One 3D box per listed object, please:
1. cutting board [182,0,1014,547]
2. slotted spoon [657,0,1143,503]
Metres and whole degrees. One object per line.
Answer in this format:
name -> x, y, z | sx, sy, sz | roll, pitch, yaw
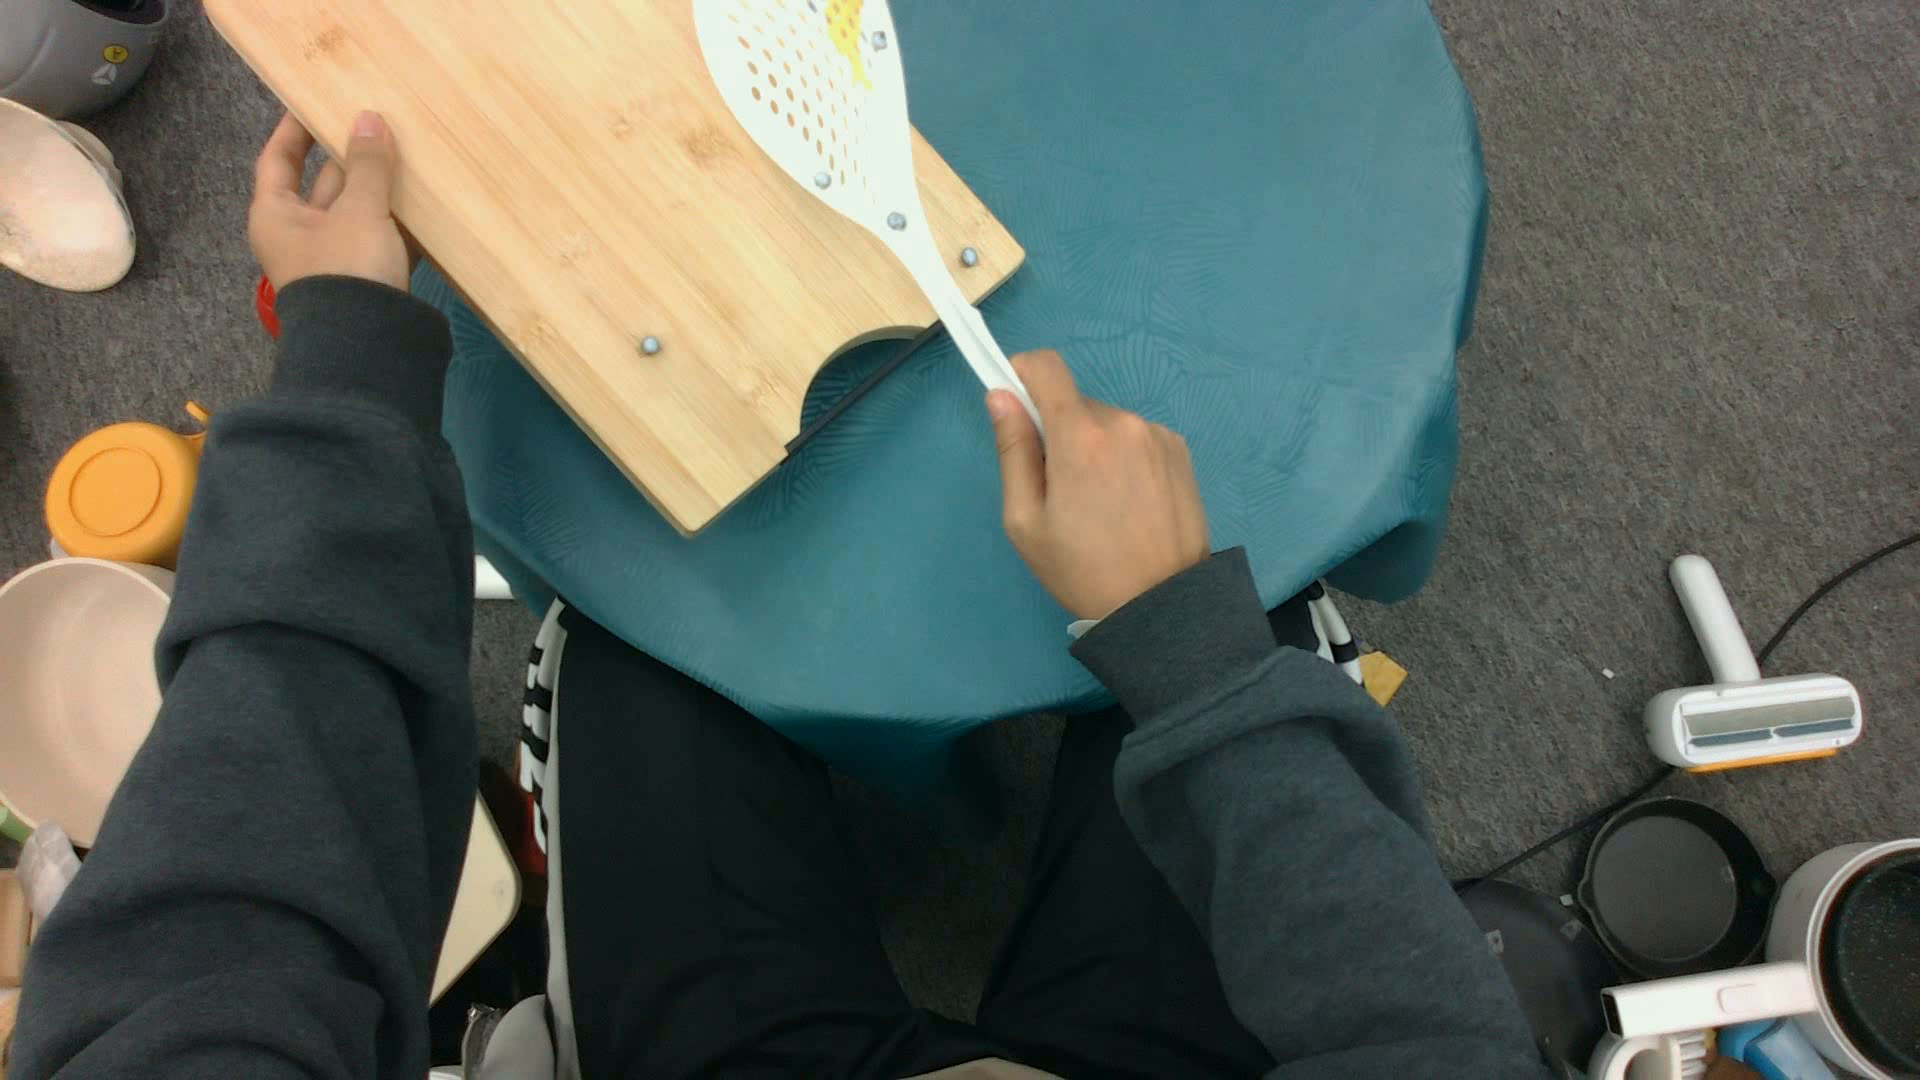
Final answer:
cutting board -> -0.169, -0.201, 0.698 | 0.348, 0.023, 0.251 | 46, 68, -1
slotted spoon -> -0.030, -0.154, 0.633 | 0.050, 0.136, 0.348 | -25, 80, -35
